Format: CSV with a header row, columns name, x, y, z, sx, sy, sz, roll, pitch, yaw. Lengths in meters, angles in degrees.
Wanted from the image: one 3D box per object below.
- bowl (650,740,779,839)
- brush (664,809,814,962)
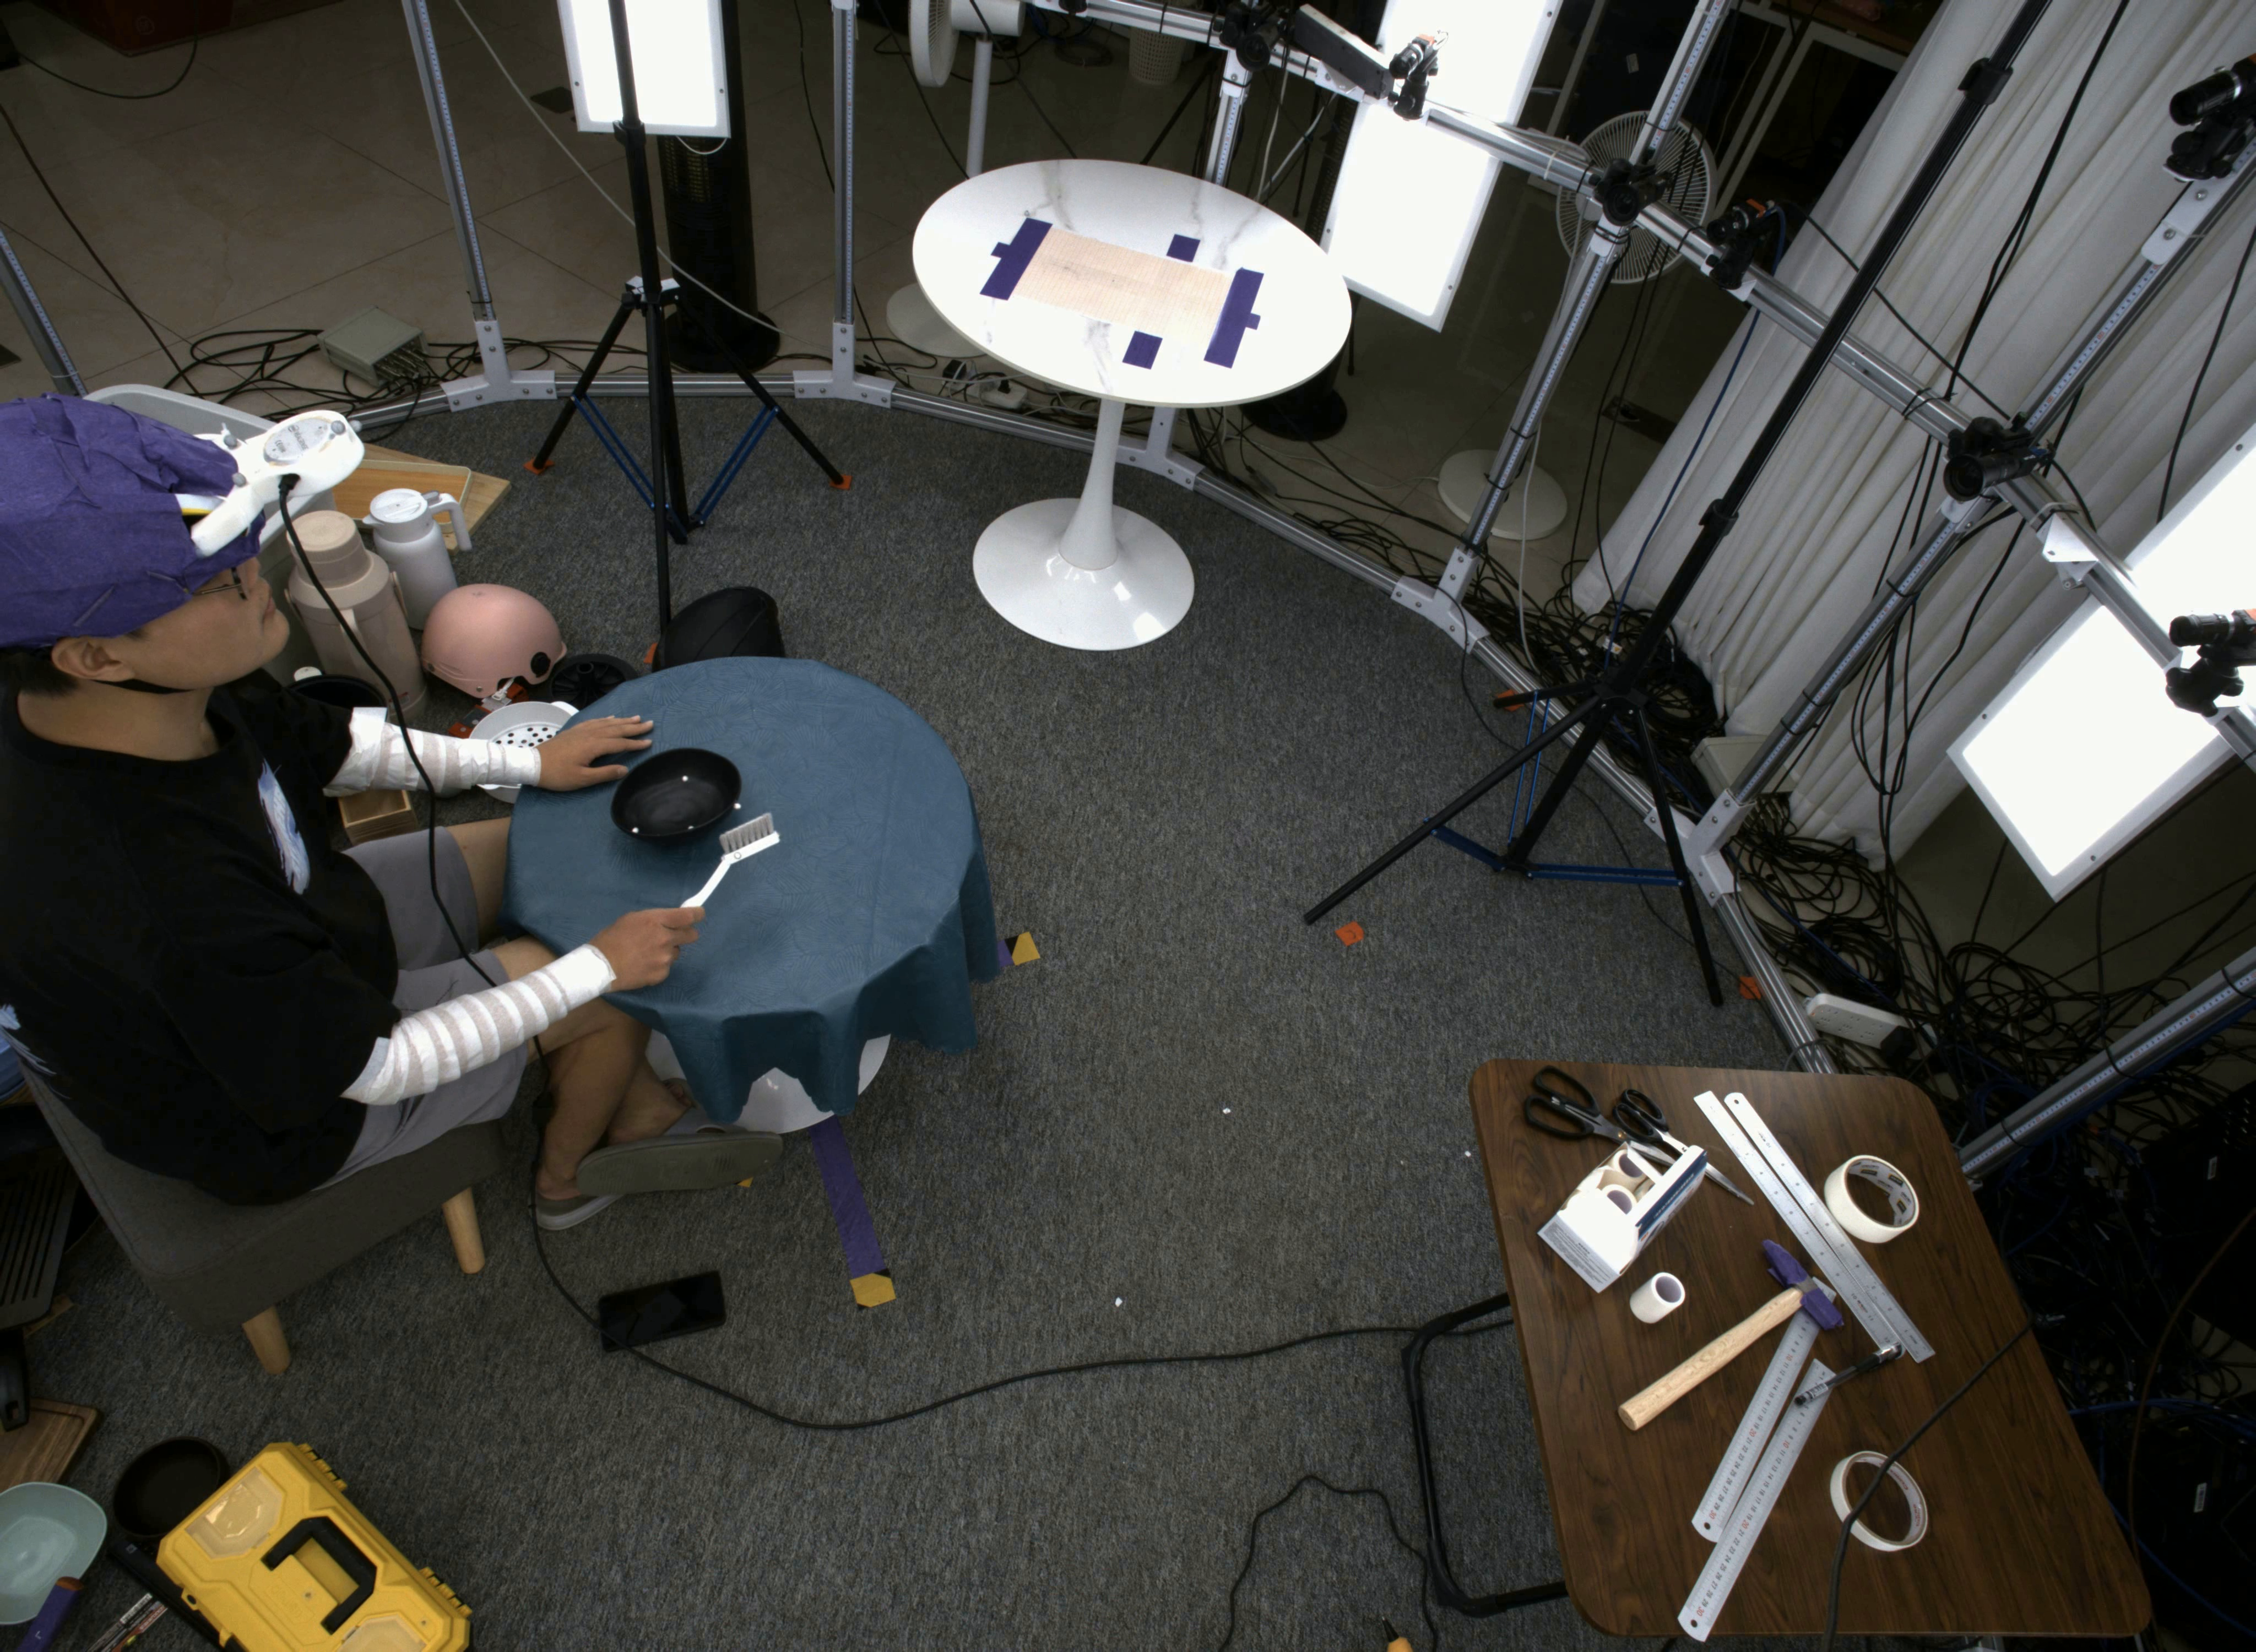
name,x,y,z,sx,sy,sz,roll,pitch,yaw
bowl,-0.539,-0.036,1.691,0.171,0.068,0.134,-26,63,-26
brush,-0.479,0.065,1.559,0.243,0.033,0.051,-42,111,-10
